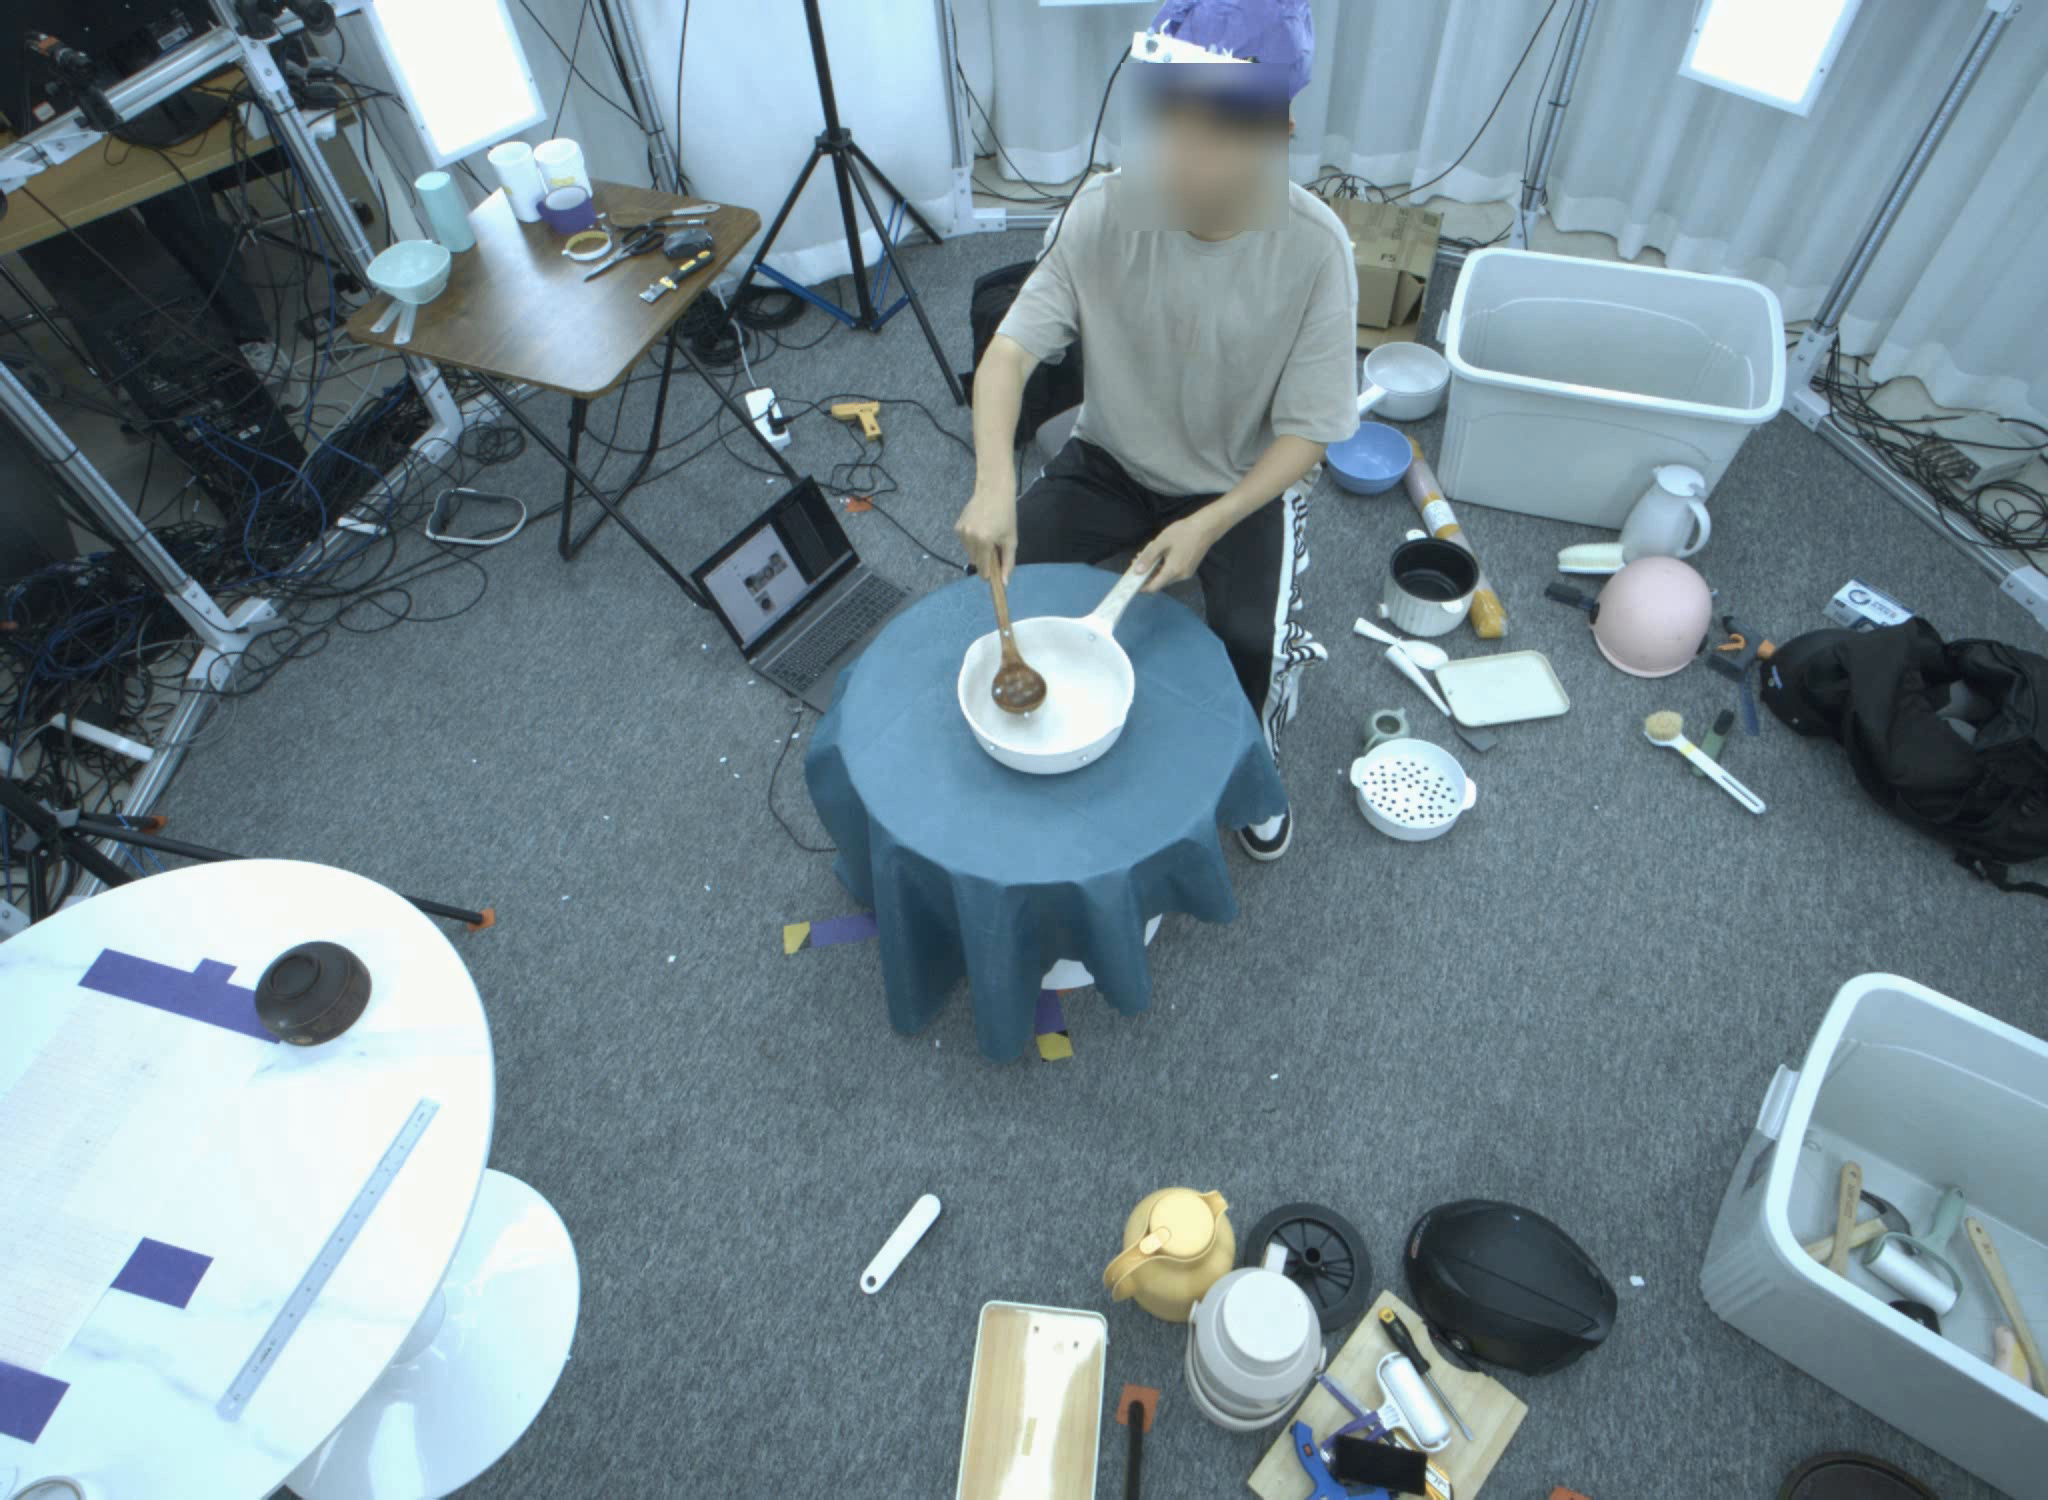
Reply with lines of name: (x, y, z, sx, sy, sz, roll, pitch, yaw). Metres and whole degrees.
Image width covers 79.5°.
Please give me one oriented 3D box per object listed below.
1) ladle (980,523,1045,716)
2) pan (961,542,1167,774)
ladle: (-0.028, -0.184, 1.743, 0.082, 0.276, 0.075, -13, 17, -12)
pan: (0.091, -0.139, 1.818, 0.259, 0.103, 0.437, 28, 60, 22)
